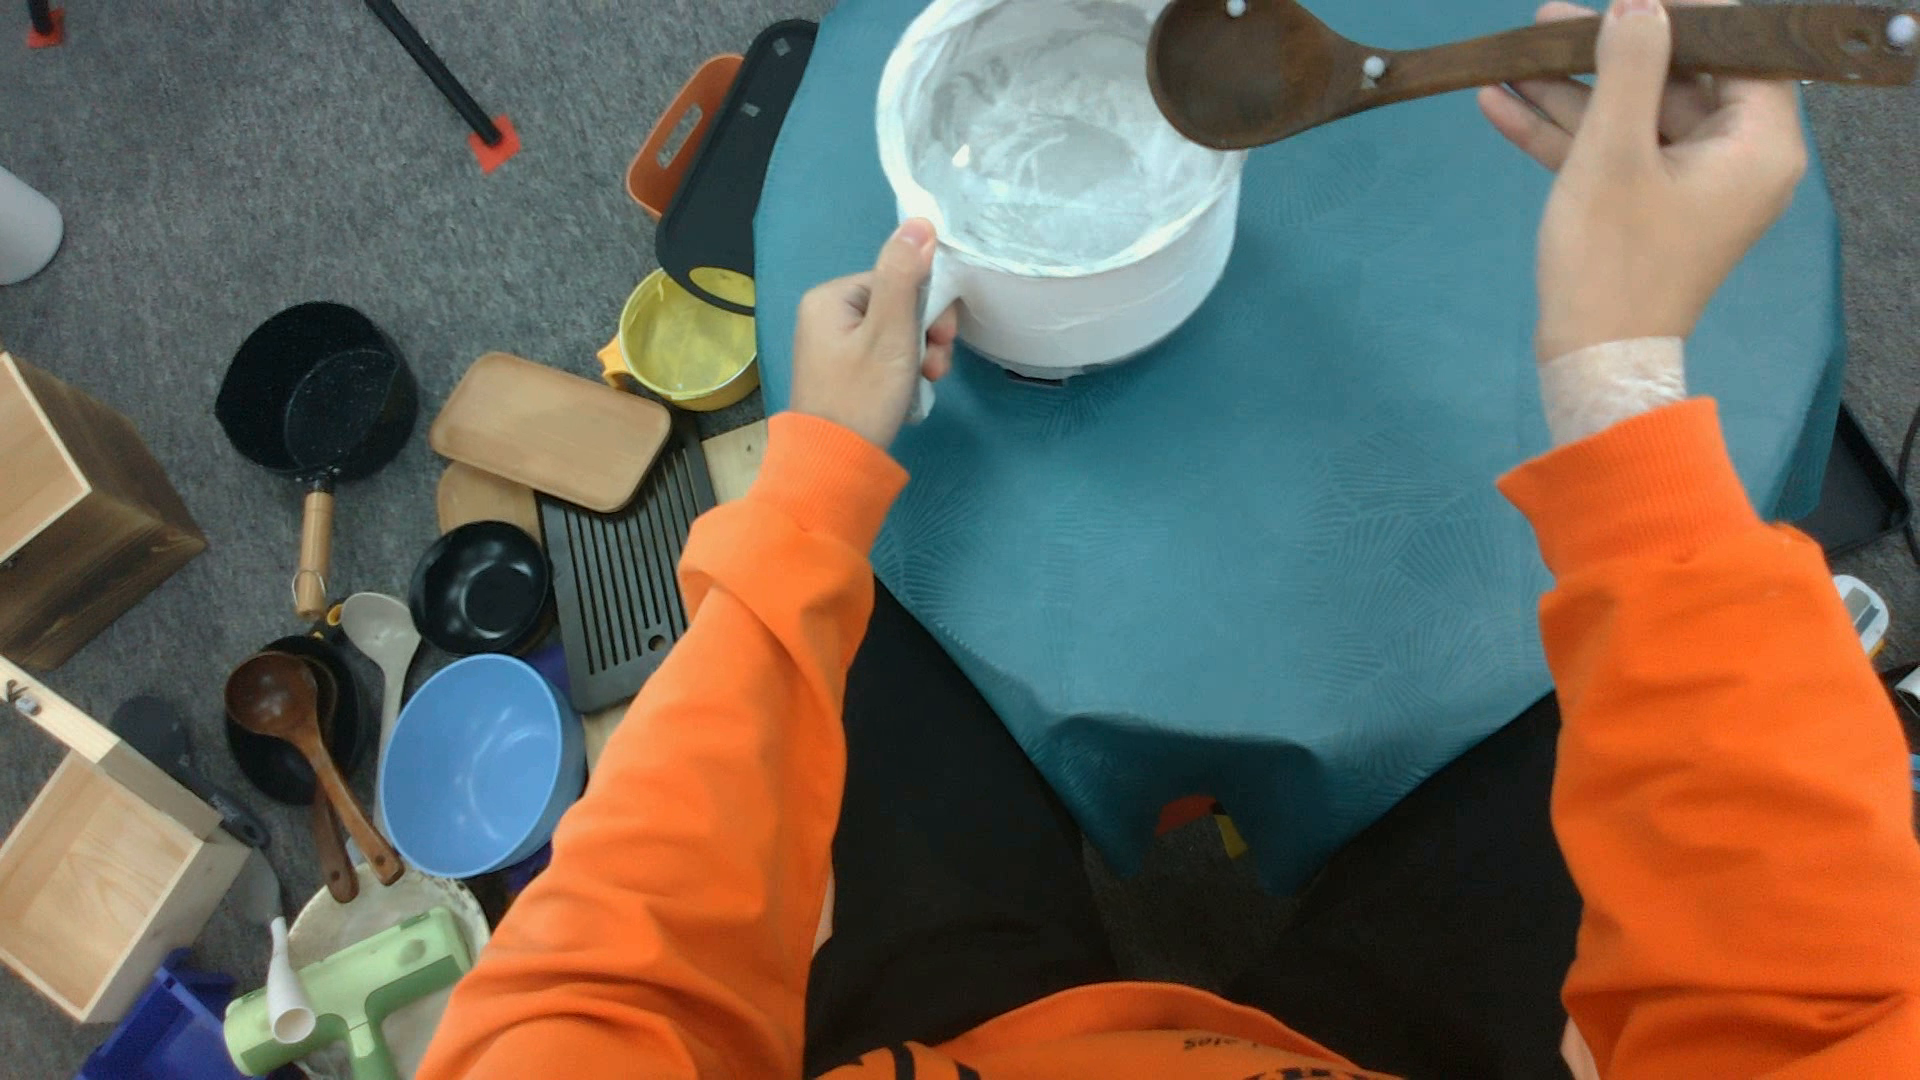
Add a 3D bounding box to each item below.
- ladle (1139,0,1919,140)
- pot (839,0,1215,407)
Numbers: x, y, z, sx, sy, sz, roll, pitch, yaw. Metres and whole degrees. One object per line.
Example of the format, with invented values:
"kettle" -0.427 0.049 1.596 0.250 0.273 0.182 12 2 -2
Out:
"ladle" 0.194 -0.191 0.516 0.273 0.071 0.076 12 85 40
"pot" 0.022 -0.173 0.702 0.179 0.136 0.234 37 79 15
